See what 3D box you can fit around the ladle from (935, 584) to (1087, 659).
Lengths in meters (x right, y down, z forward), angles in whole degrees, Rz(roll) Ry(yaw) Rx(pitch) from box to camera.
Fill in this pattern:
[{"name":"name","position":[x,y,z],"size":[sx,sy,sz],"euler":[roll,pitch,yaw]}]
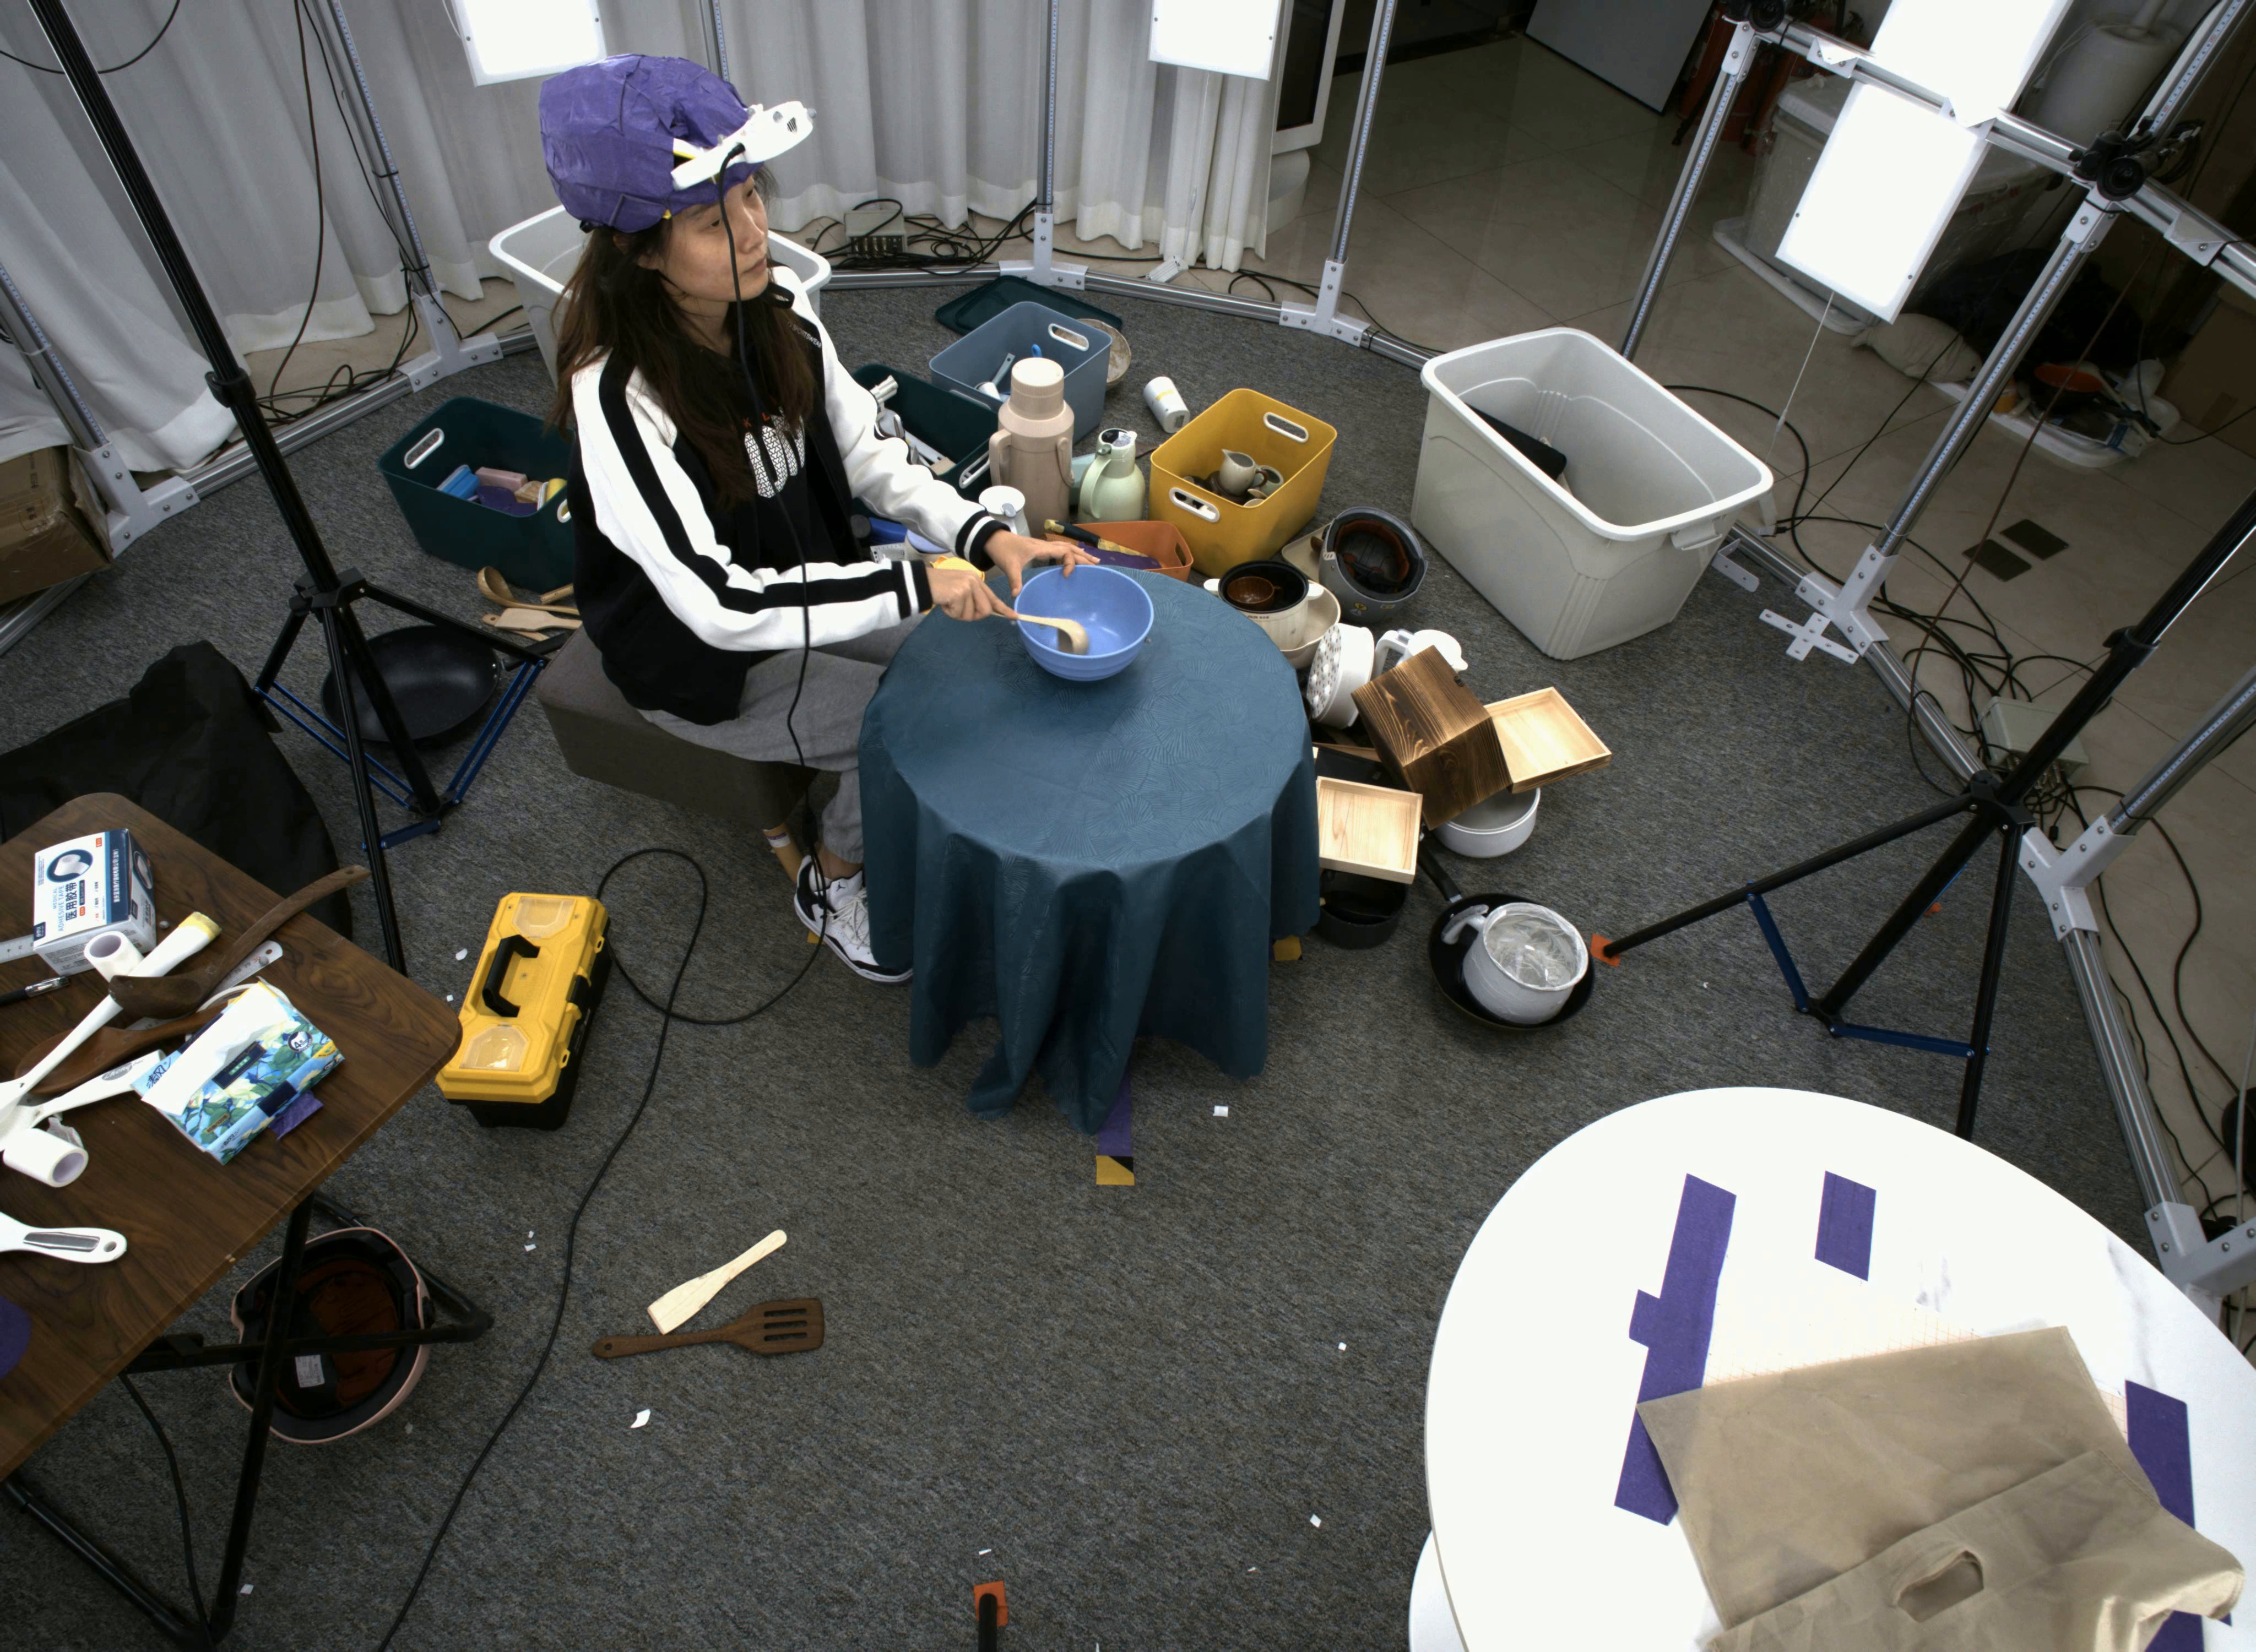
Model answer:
[{"name":"ladle","position":[-0.168,-0.271,1.766],"size":[0.252,0.072,0.074],"euler":[10,45,-36]}]

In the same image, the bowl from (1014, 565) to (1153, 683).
[{"name":"bowl","position":[-0.064,-0.274,1.846],"size":[0.196,0.093,0.201],"euler":[1,50,-2]}]
